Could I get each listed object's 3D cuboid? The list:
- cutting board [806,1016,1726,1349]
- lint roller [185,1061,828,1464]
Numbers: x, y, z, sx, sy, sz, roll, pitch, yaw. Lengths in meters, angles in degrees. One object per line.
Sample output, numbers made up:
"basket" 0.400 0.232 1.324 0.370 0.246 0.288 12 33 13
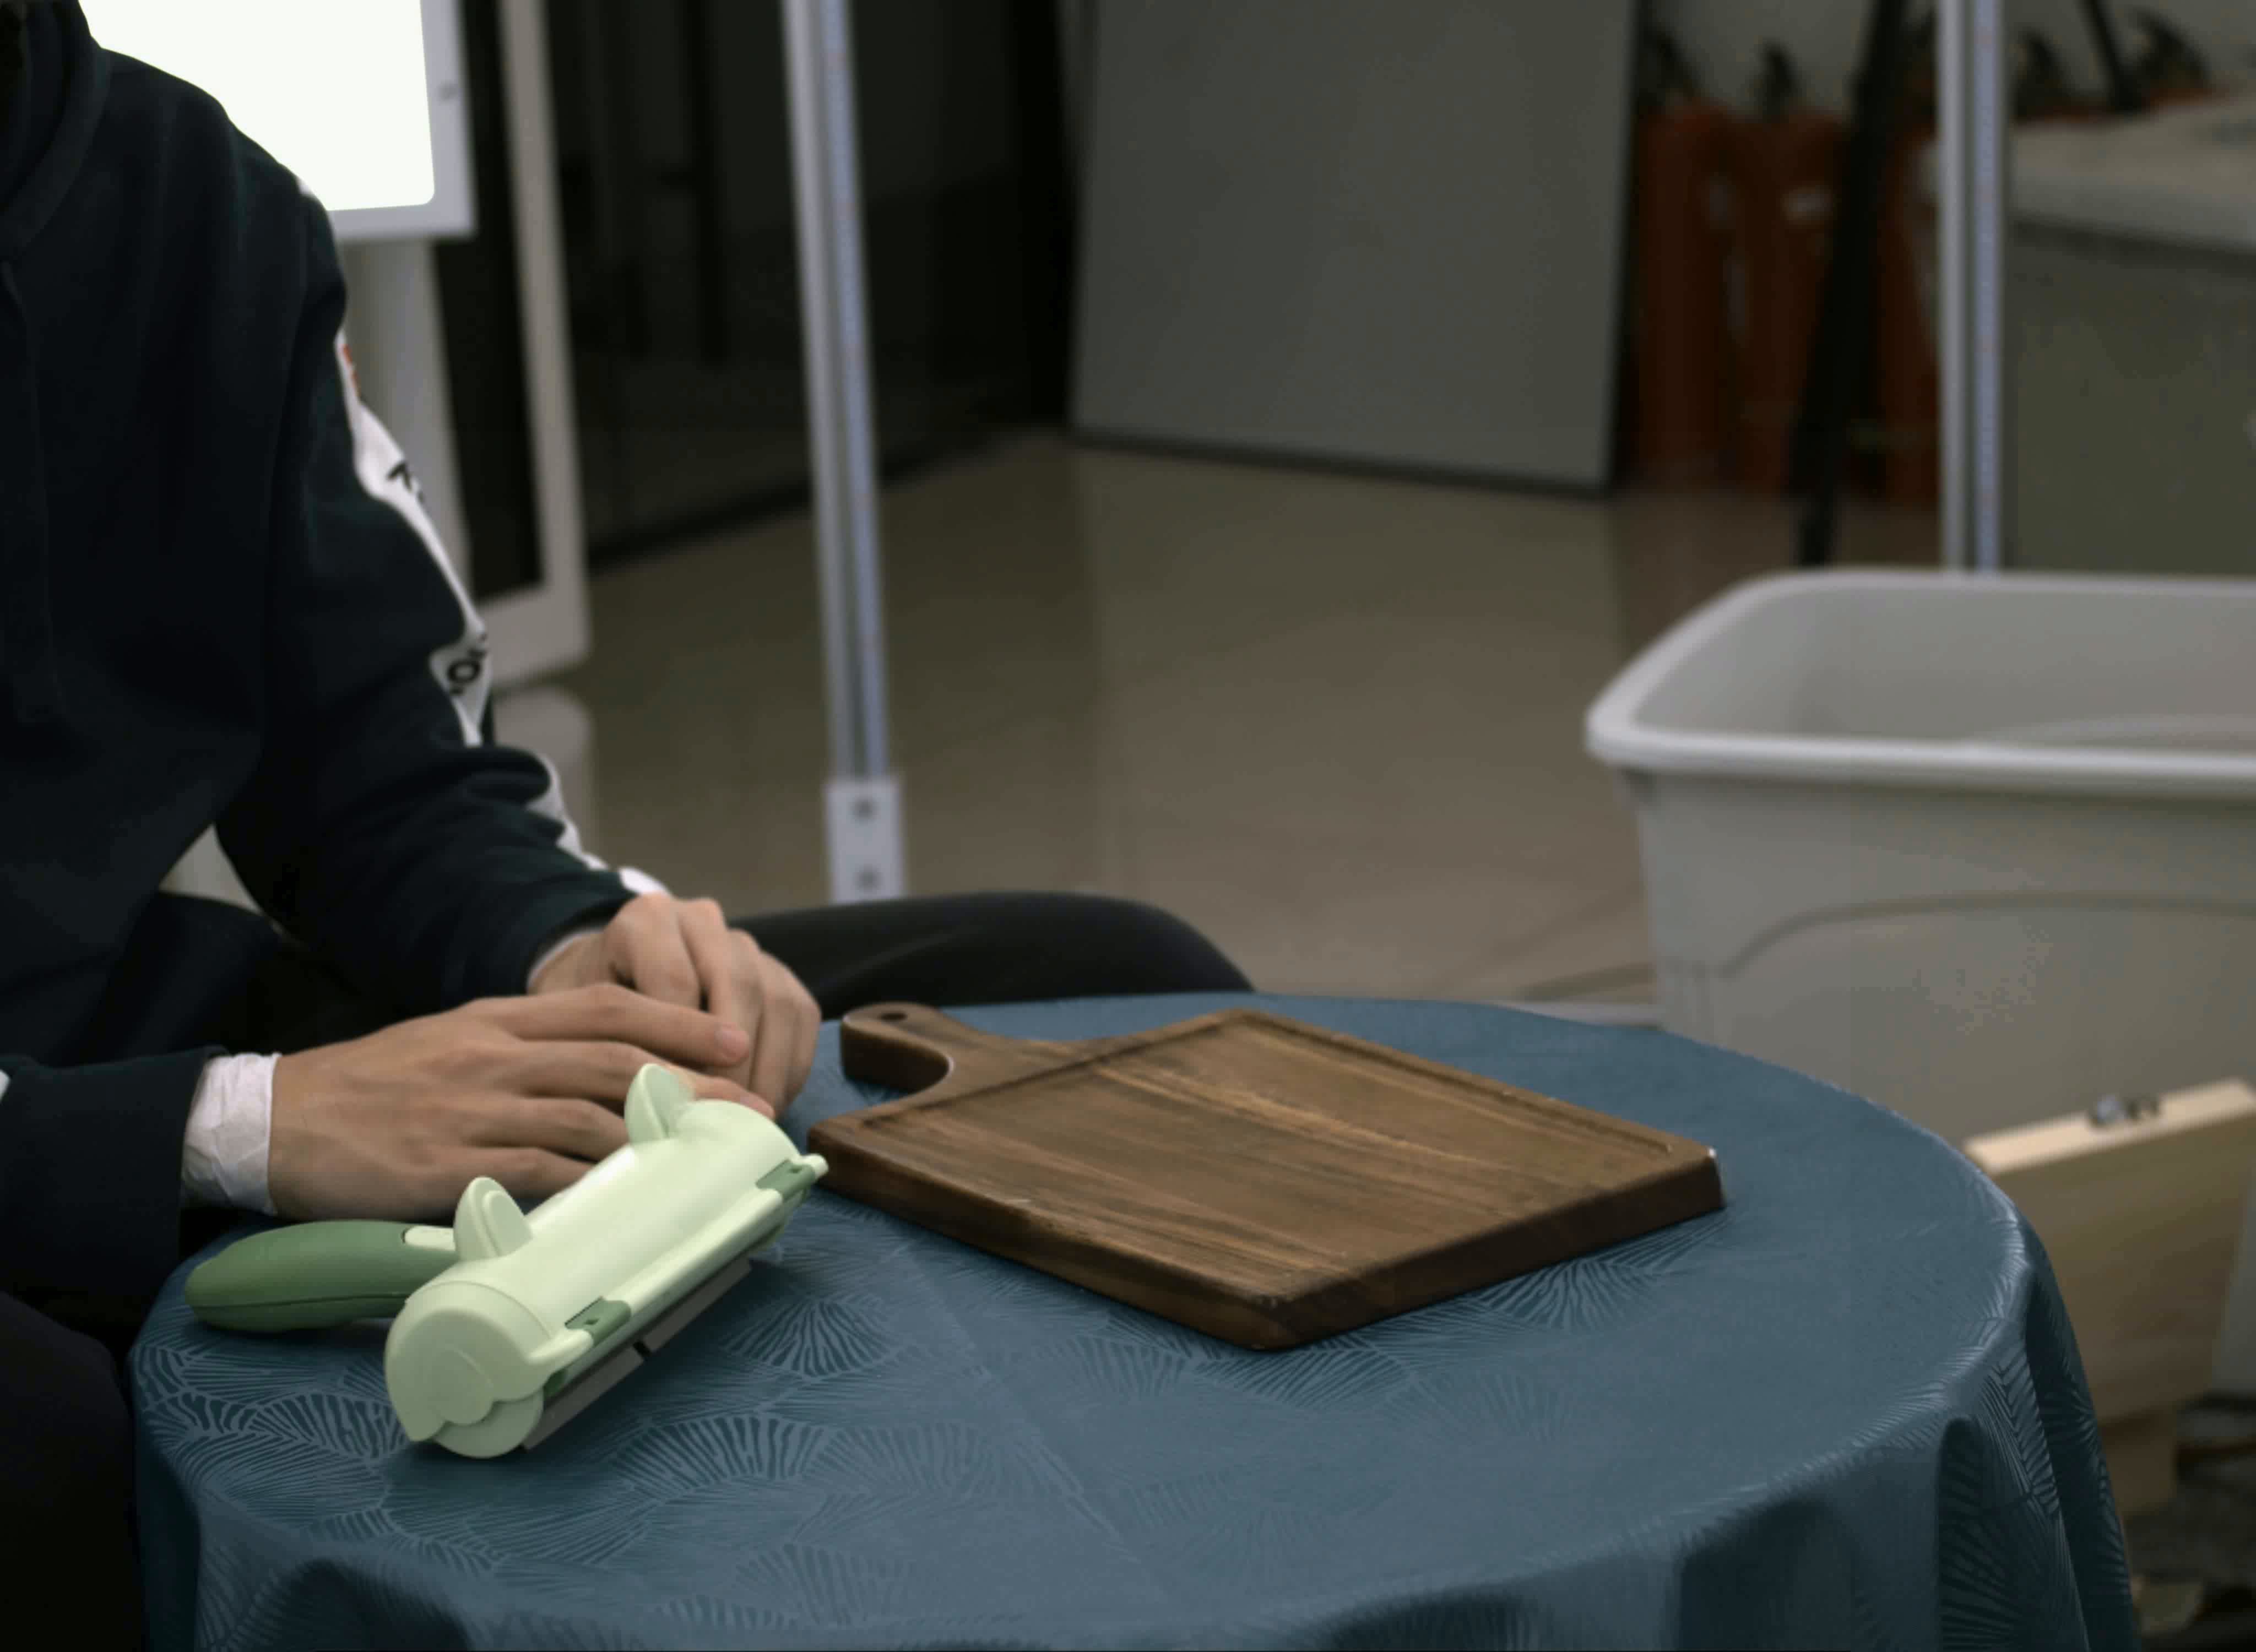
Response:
"cutting board" 0.012 0.104 1.794 0.196 0.023 0.356 -14 16 -35
"lint roller" -0.210 0.124 1.661 0.183 0.083 0.196 6 17 21
